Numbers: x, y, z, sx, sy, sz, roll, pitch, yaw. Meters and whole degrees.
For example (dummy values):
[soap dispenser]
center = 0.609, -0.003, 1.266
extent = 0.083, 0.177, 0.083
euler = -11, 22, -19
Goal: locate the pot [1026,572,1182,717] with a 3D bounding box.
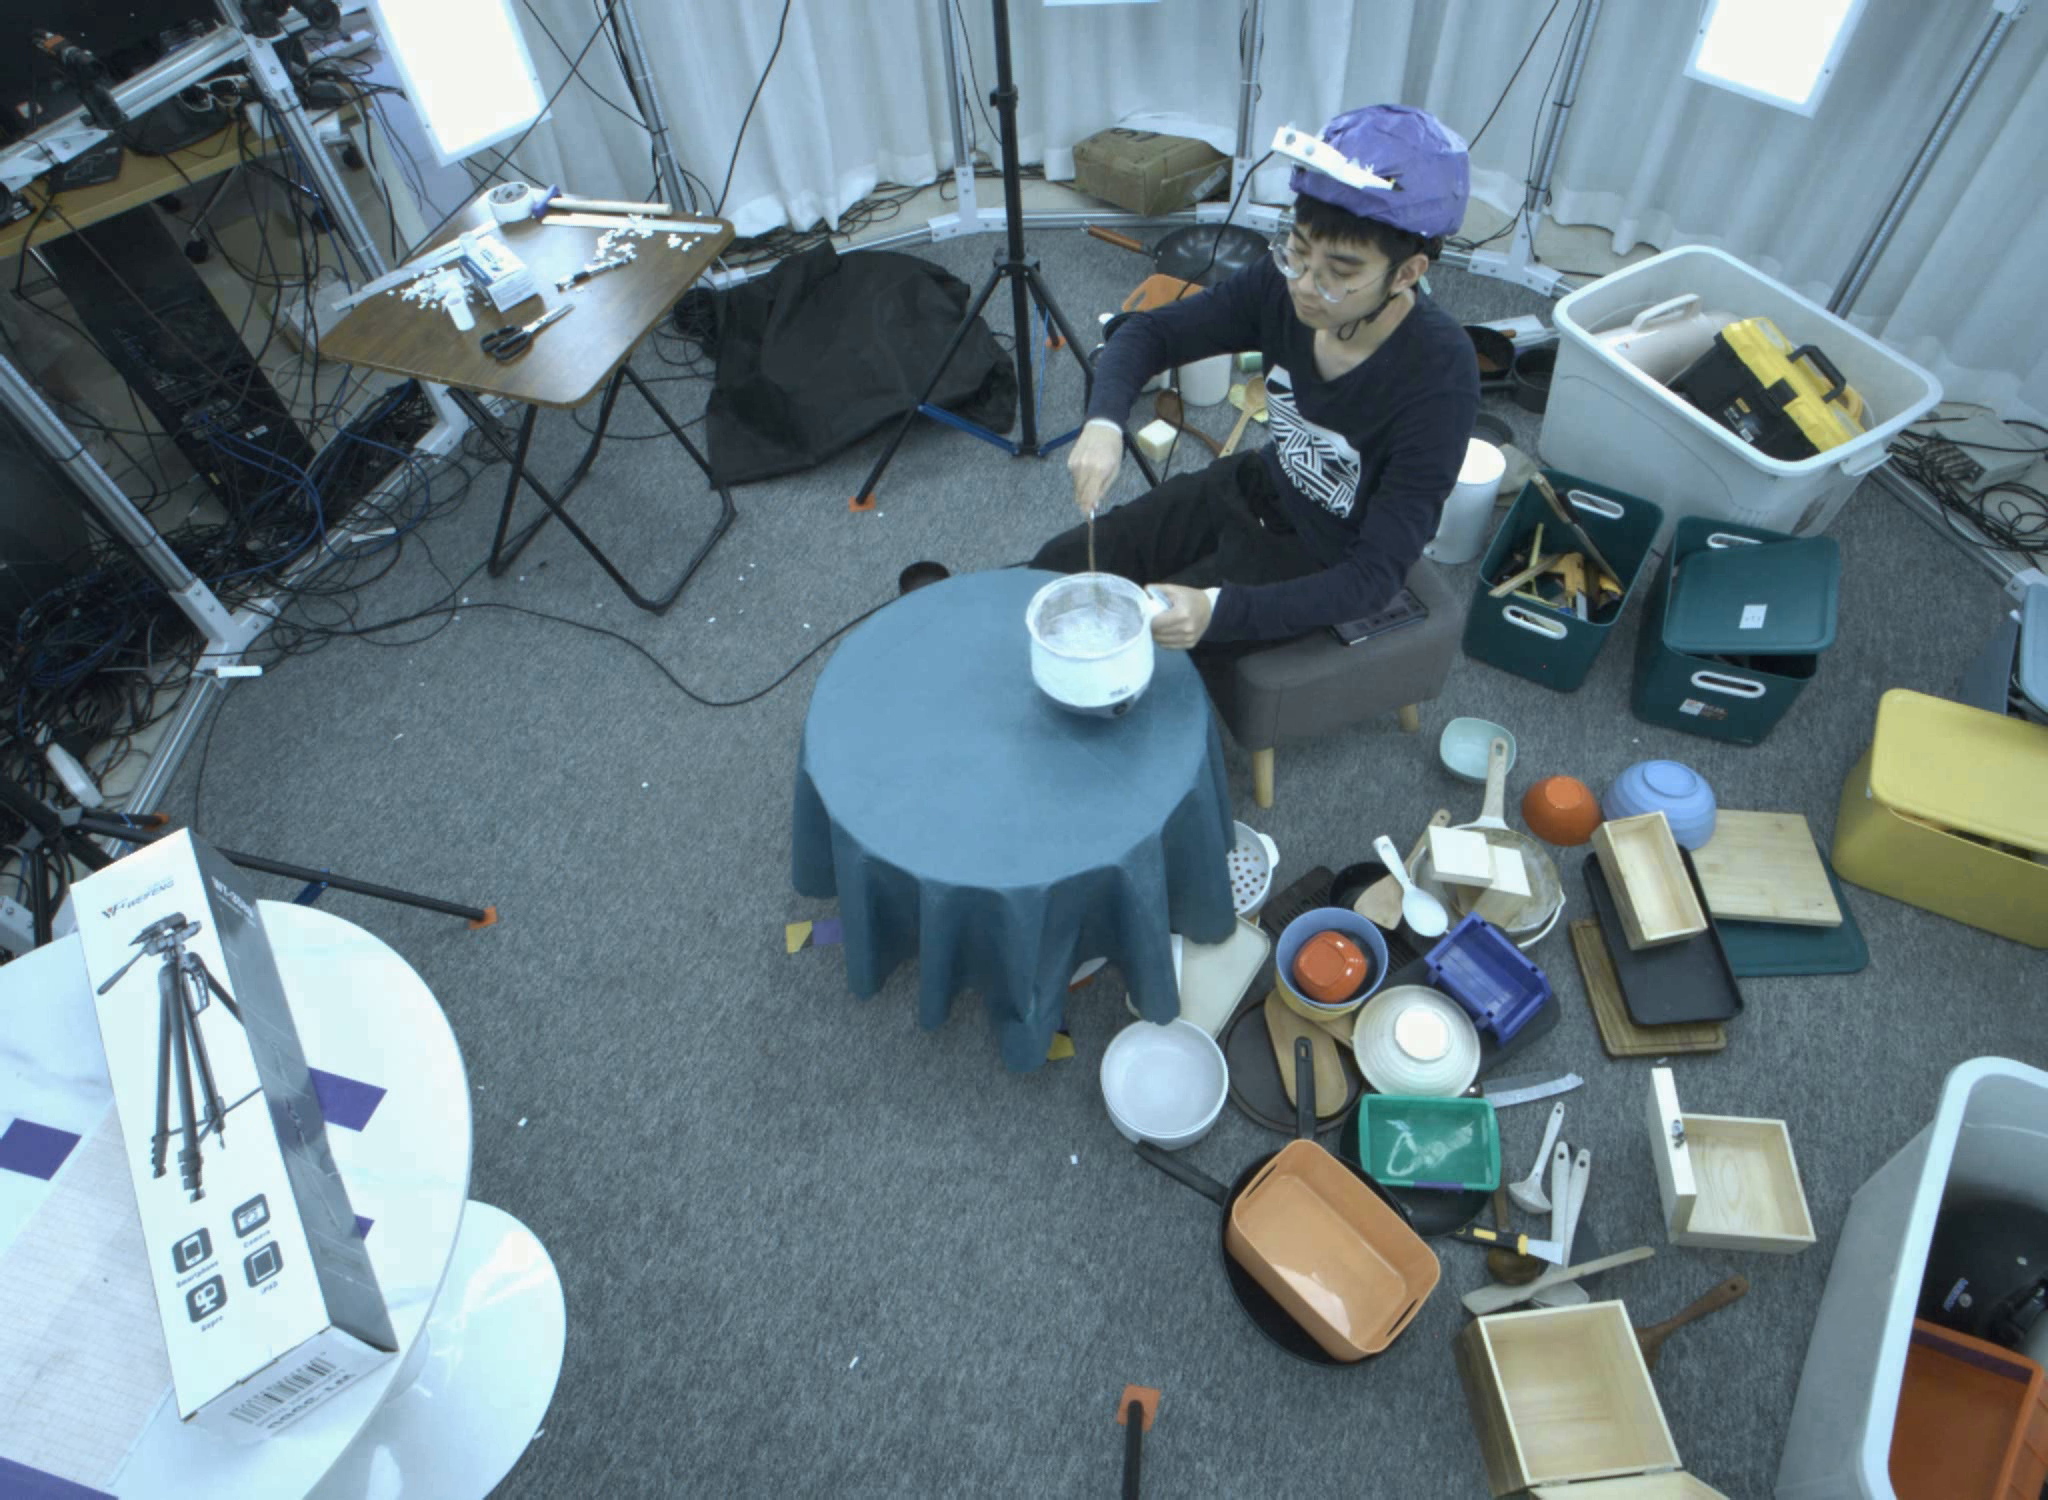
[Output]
[pot]
center = 0.121, -0.161, 1.783
extent = 0.235, 0.138, 0.175
euler = -24, 54, -14

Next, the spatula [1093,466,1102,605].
[spatula]
center = 0.103, -0.312, 1.748
extent = 0.009, 0.072, 0.214
euler = -2, 75, 5
